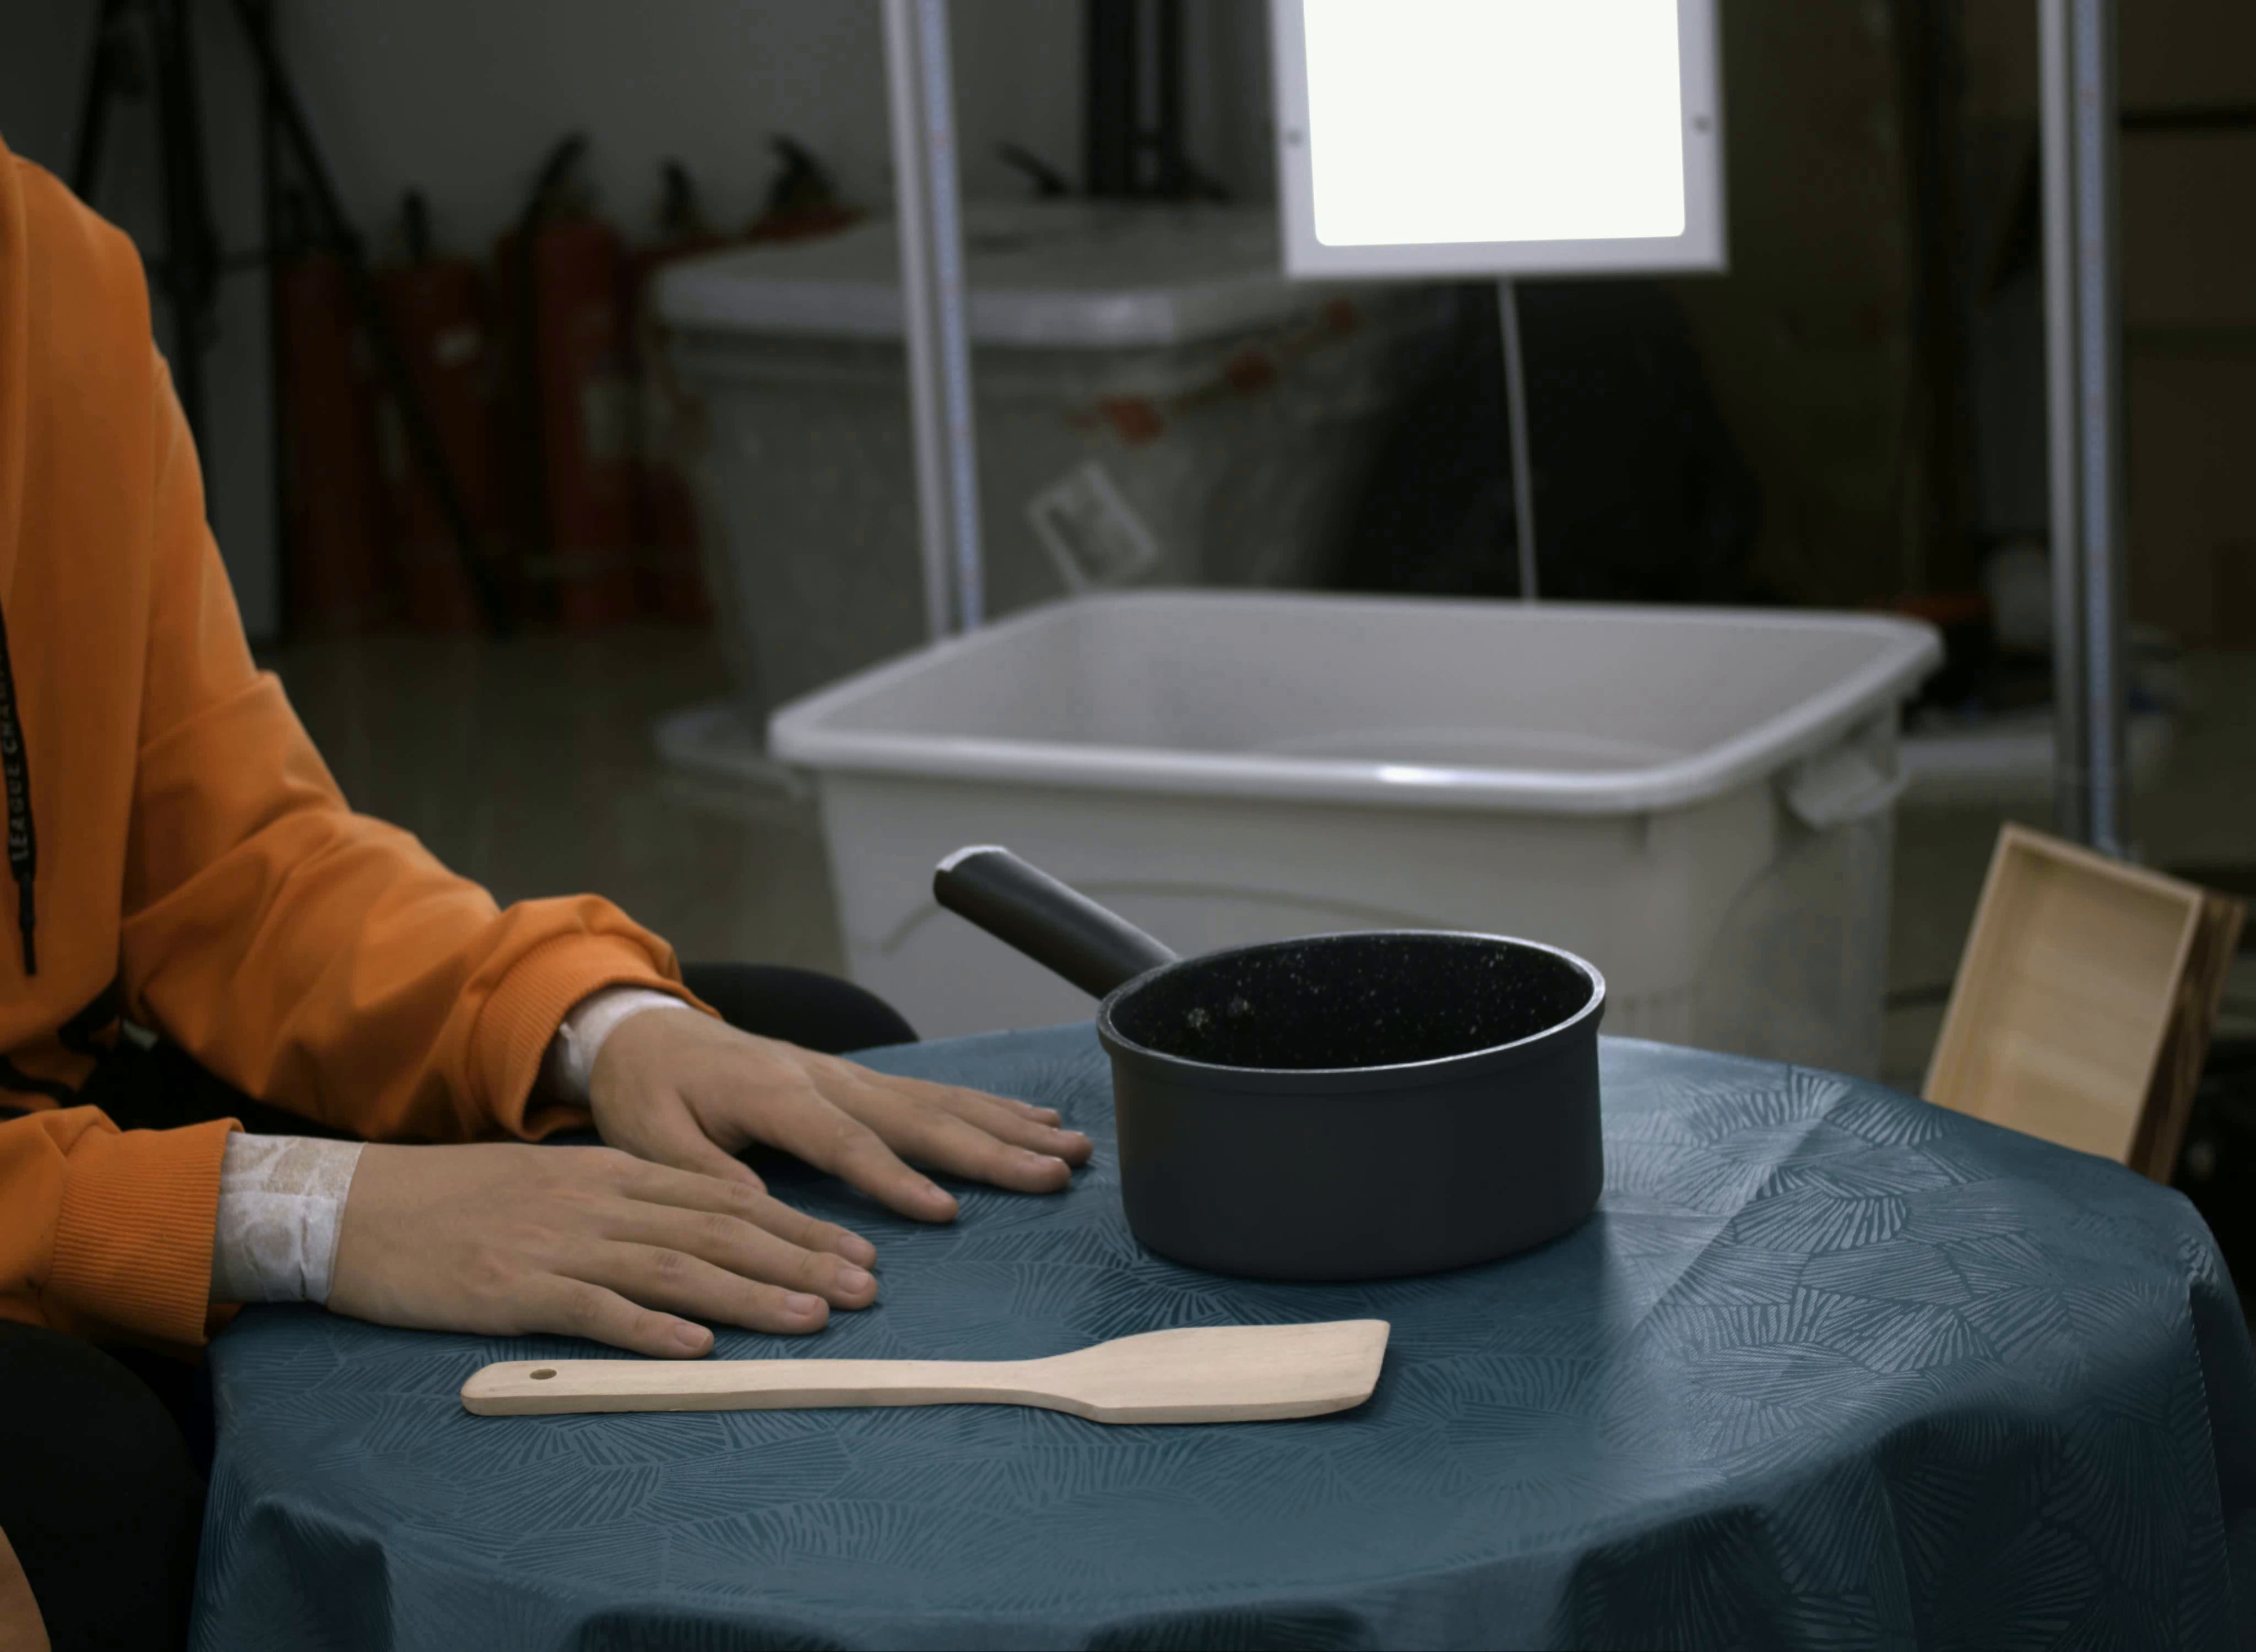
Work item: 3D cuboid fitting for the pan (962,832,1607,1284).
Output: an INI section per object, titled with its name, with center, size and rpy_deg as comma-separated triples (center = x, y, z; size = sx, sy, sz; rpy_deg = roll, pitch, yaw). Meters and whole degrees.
[pan]
center = 0.036, 0.076, 1.913
size = 0.168, 0.087, 0.334
rpy_deg = -12, 17, -28

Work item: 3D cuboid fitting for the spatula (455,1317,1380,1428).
[spatula]
center = -0.068, 0.172, 1.716
size = 0.295, 0.011, 0.071
rpy_deg = -2, 17, 12
